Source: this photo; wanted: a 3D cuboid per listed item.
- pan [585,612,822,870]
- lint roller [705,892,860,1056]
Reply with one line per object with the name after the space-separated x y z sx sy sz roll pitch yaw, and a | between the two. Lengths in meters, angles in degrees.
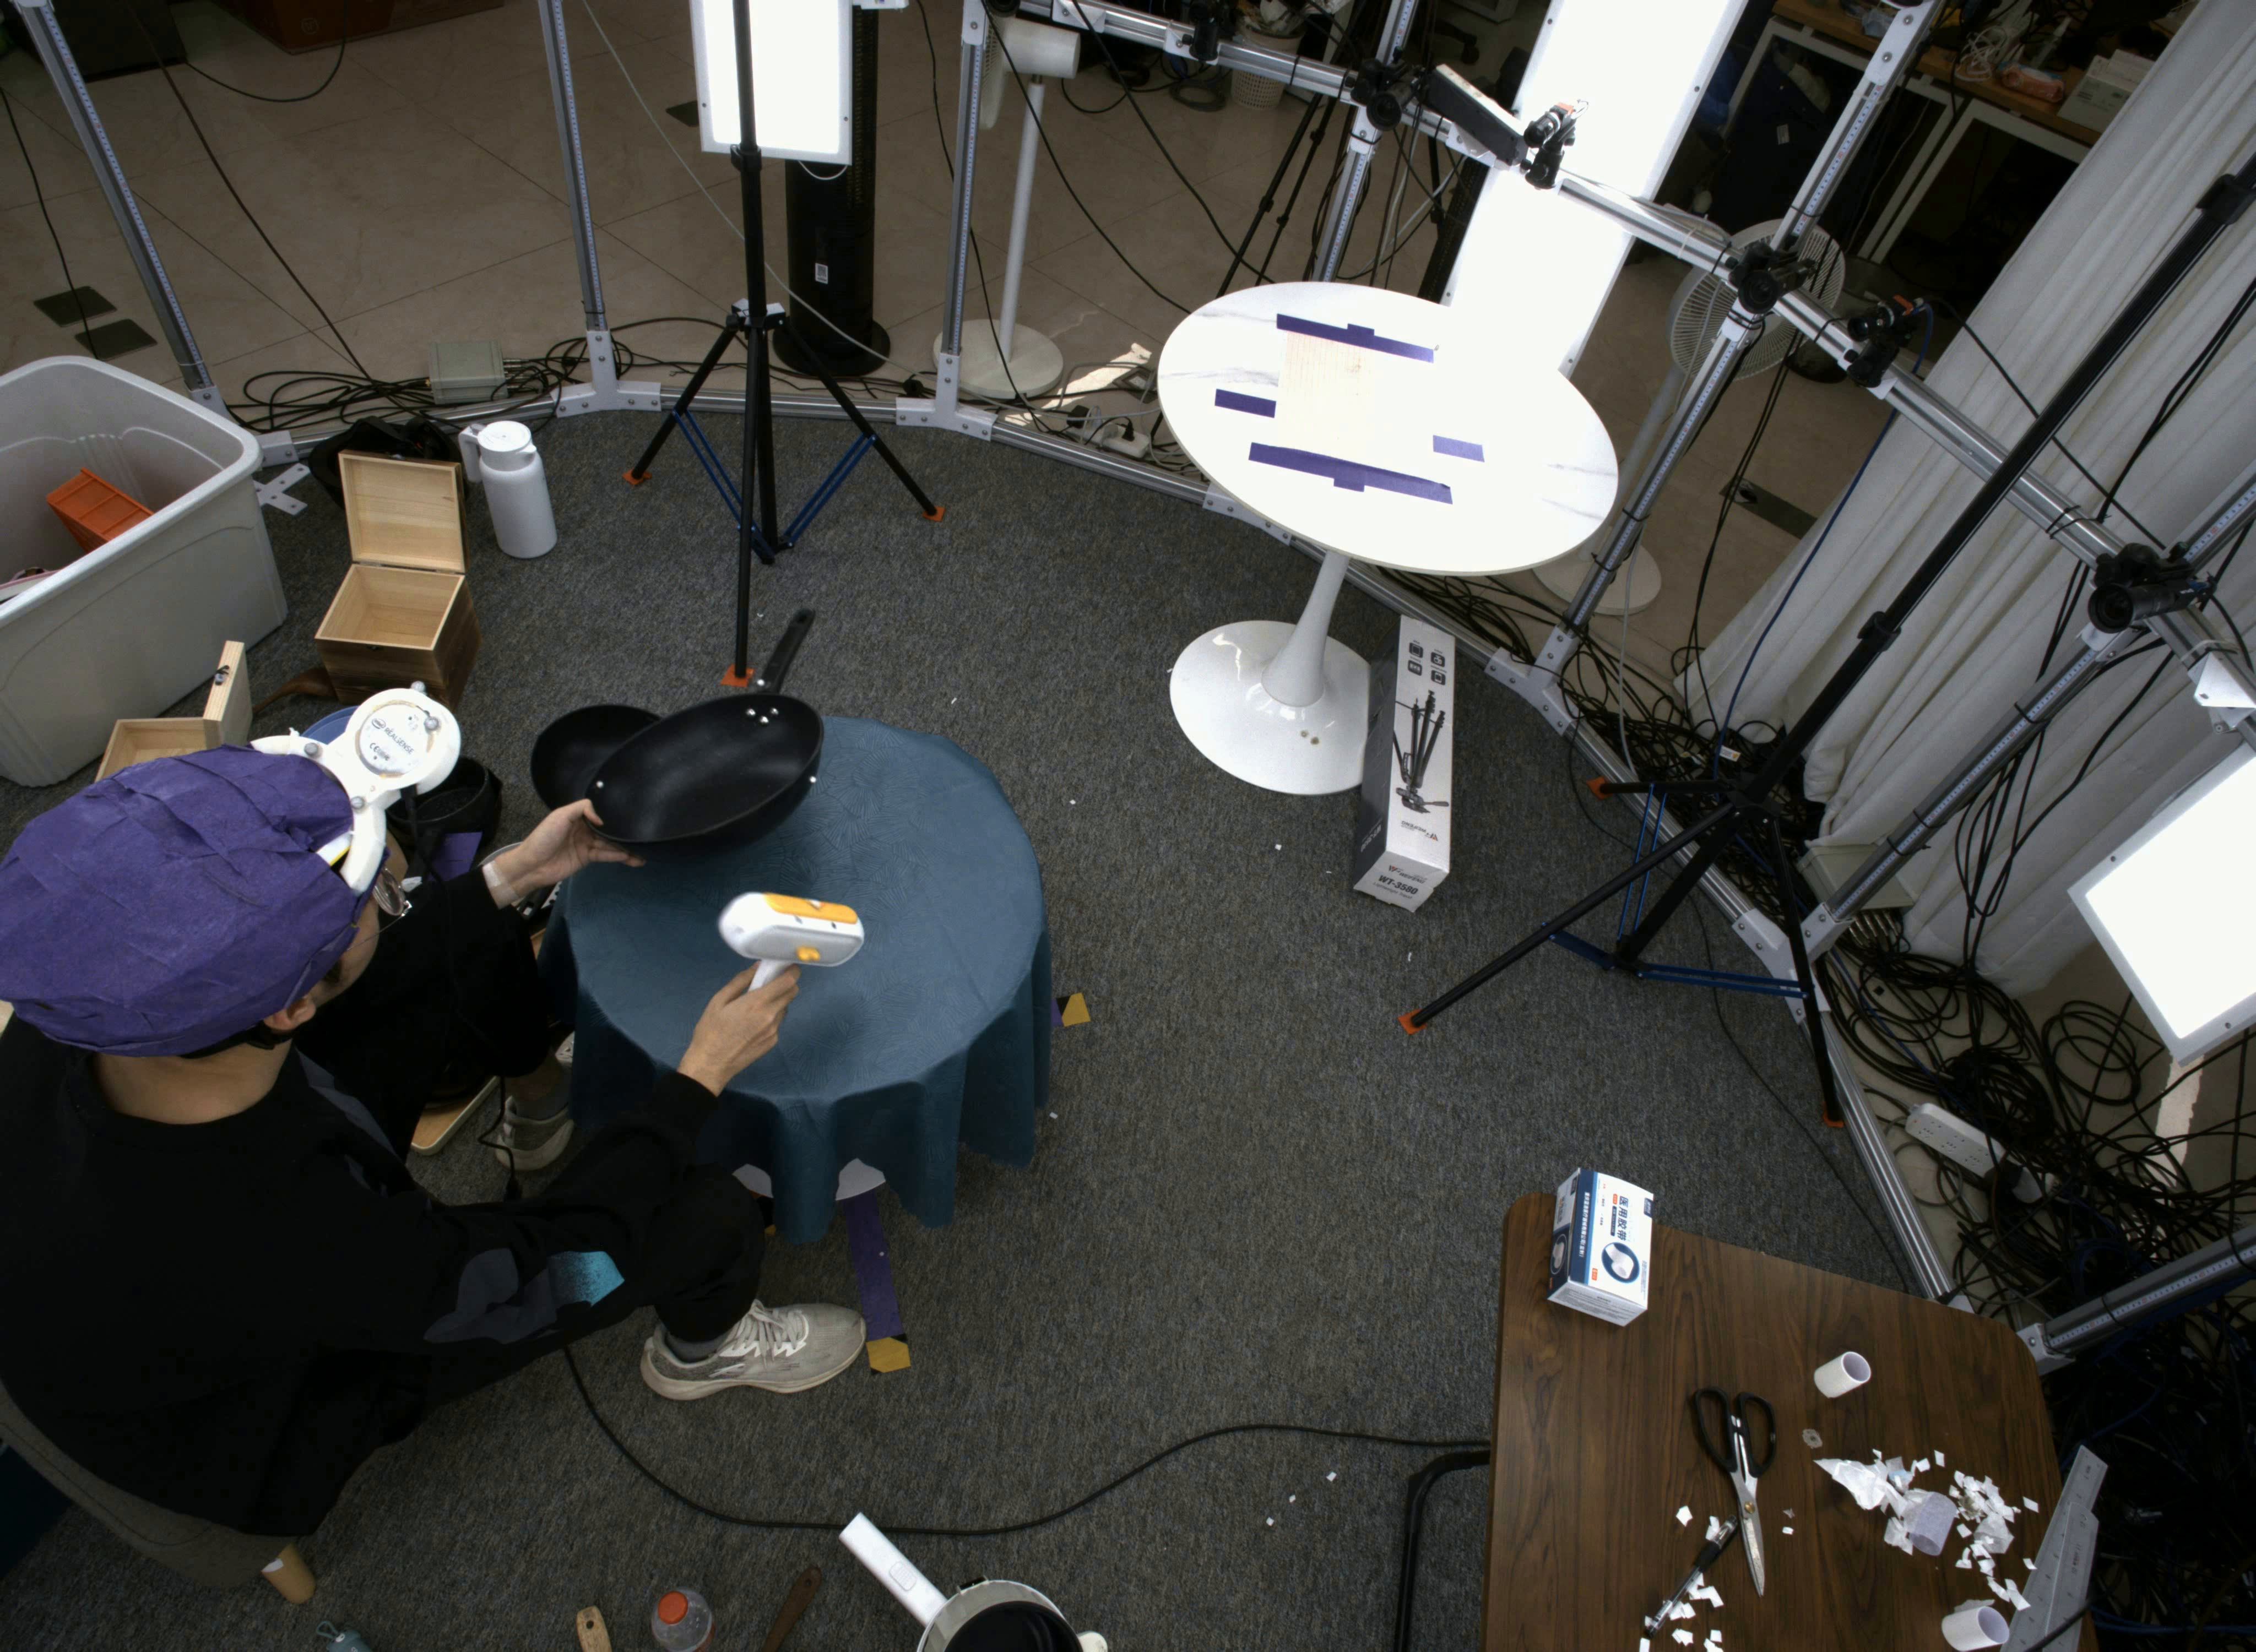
-0.496 -0.104 1.654 0.302 0.116 0.471 2 40 18 | pan
-0.407 0.165 1.464 0.072 0.194 0.197 40 16 28 | lint roller
